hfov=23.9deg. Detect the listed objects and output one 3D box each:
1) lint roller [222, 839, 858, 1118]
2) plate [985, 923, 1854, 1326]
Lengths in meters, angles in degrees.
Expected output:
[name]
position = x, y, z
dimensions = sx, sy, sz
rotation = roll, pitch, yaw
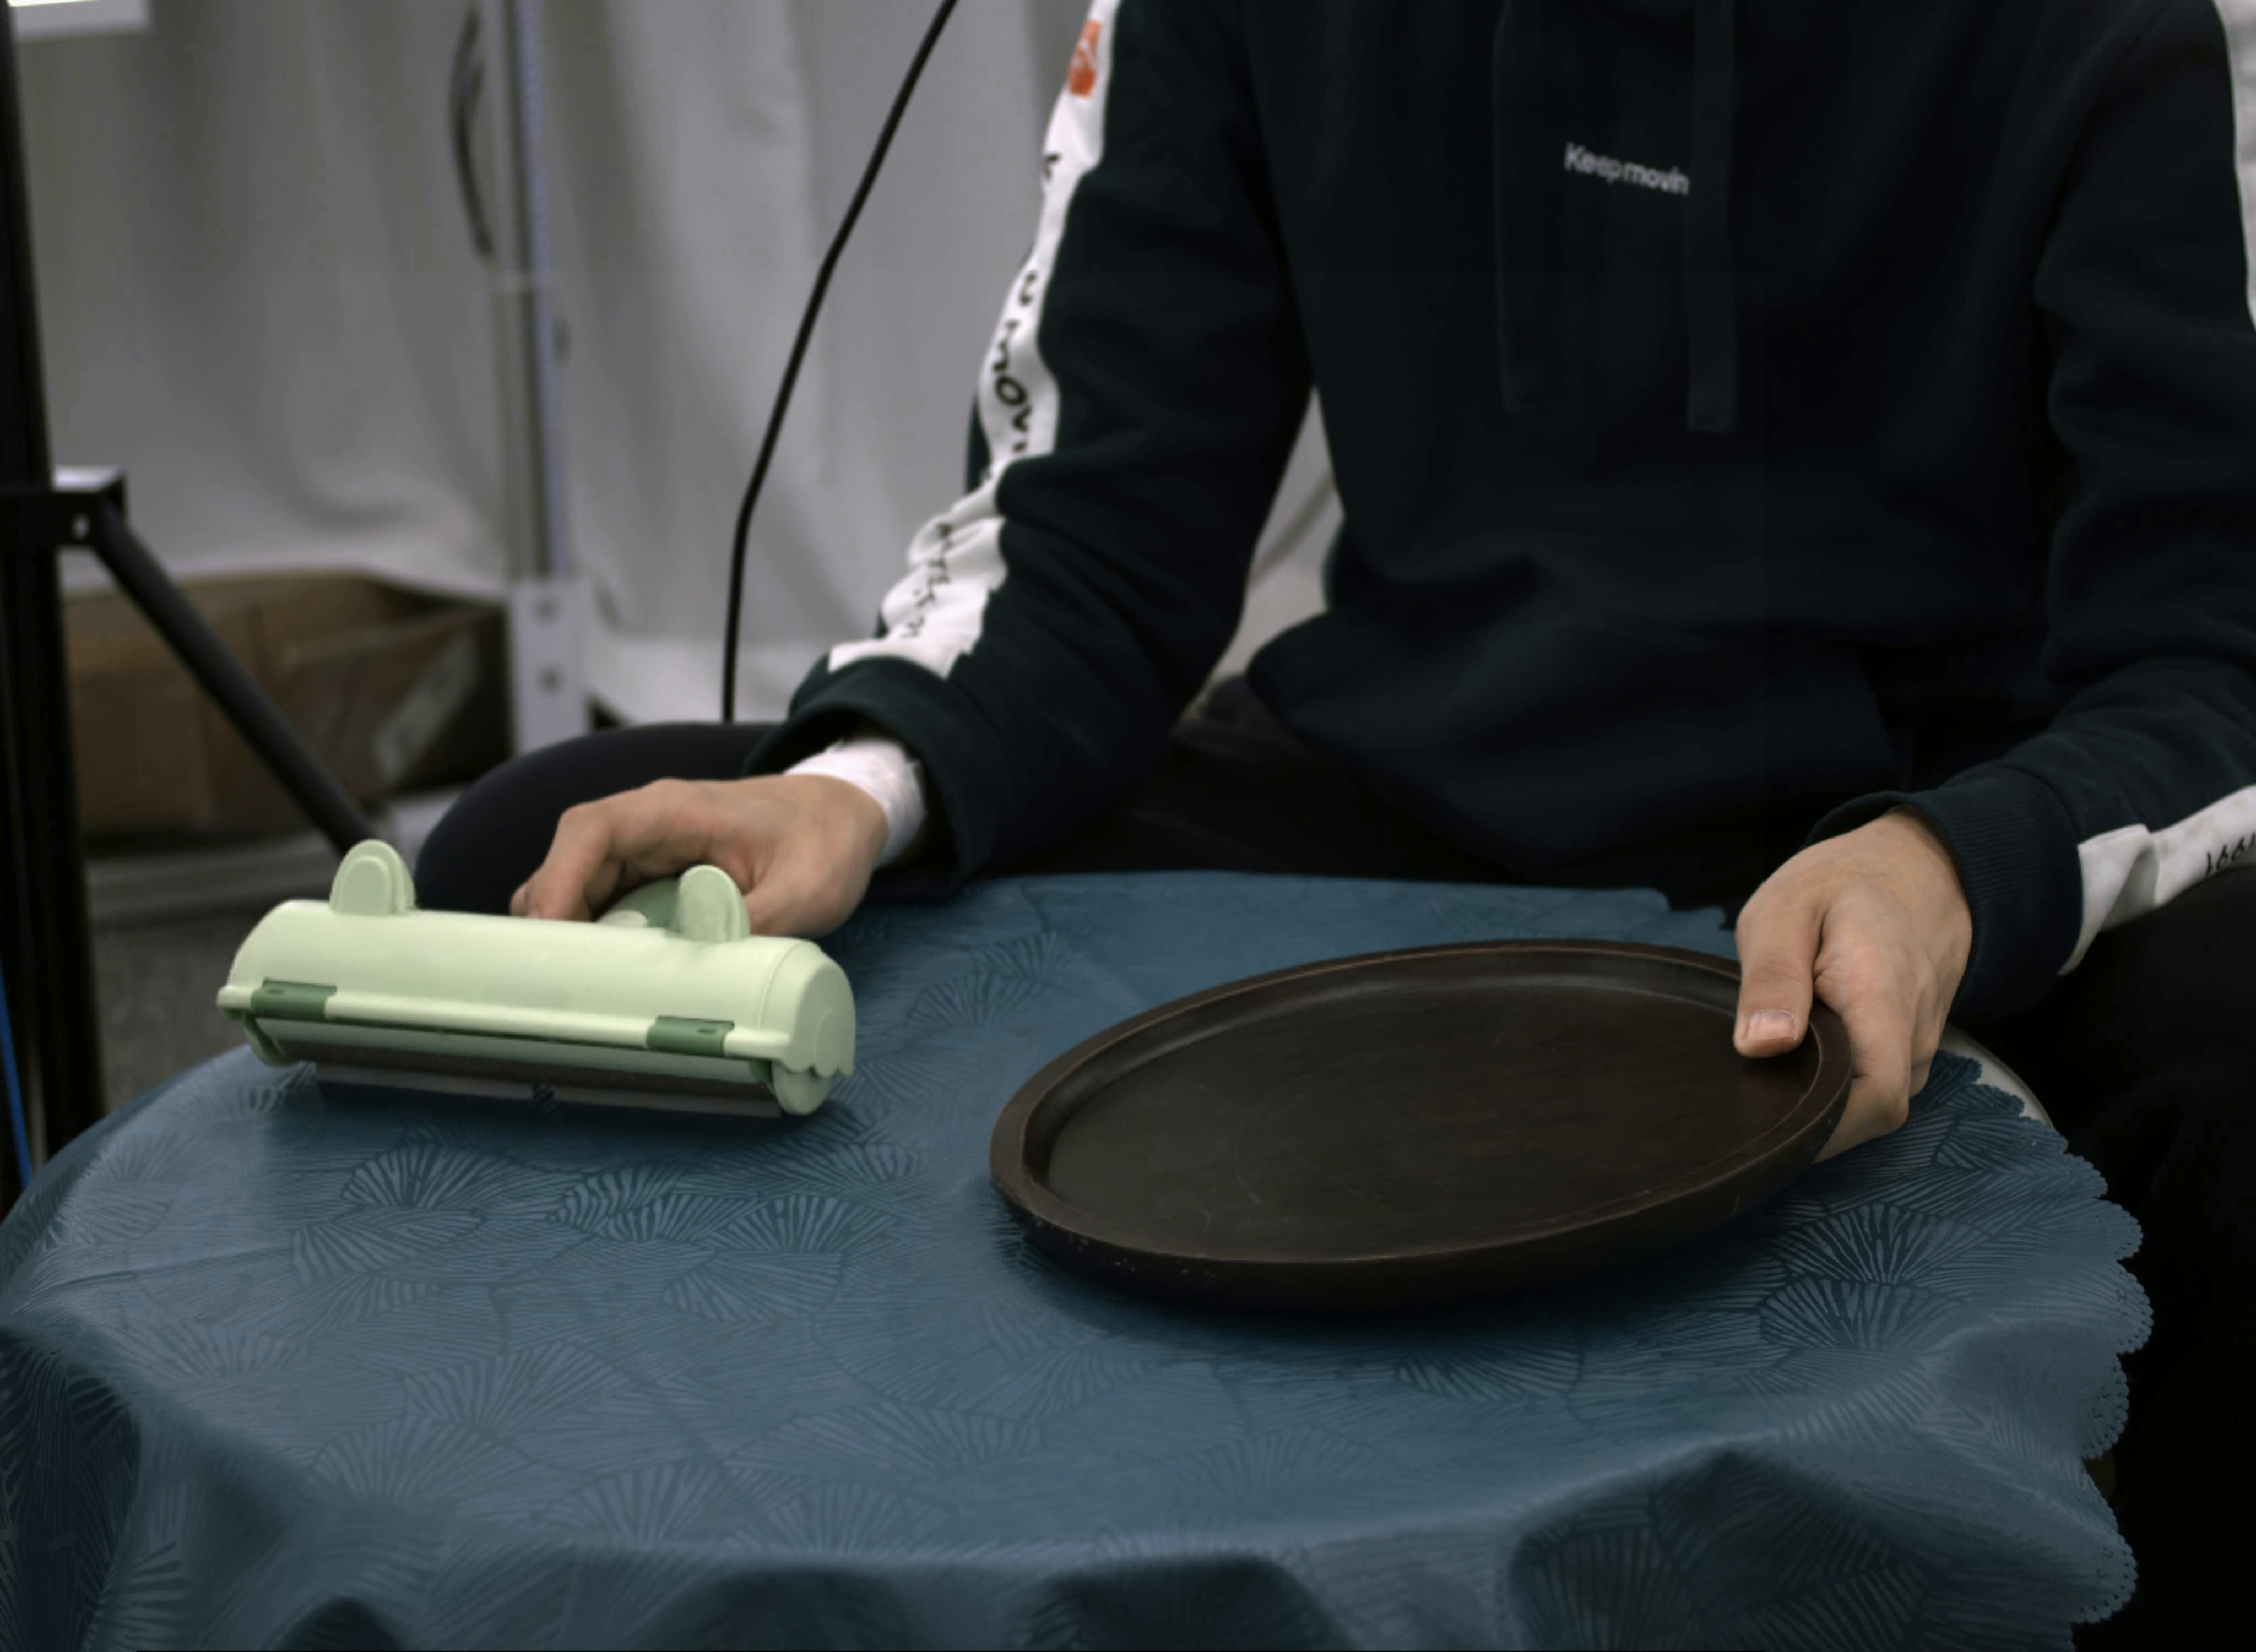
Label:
[lint roller]
position = -0.164, 0.028, 1.705
dimensions = 0.201, 0.082, 0.181
rotation = 4, 24, 22
[plate]
position = 0.085, 0.087, 1.535
dimensions = 0.254, 0.029, 0.256
rotation = -10, 18, 2
